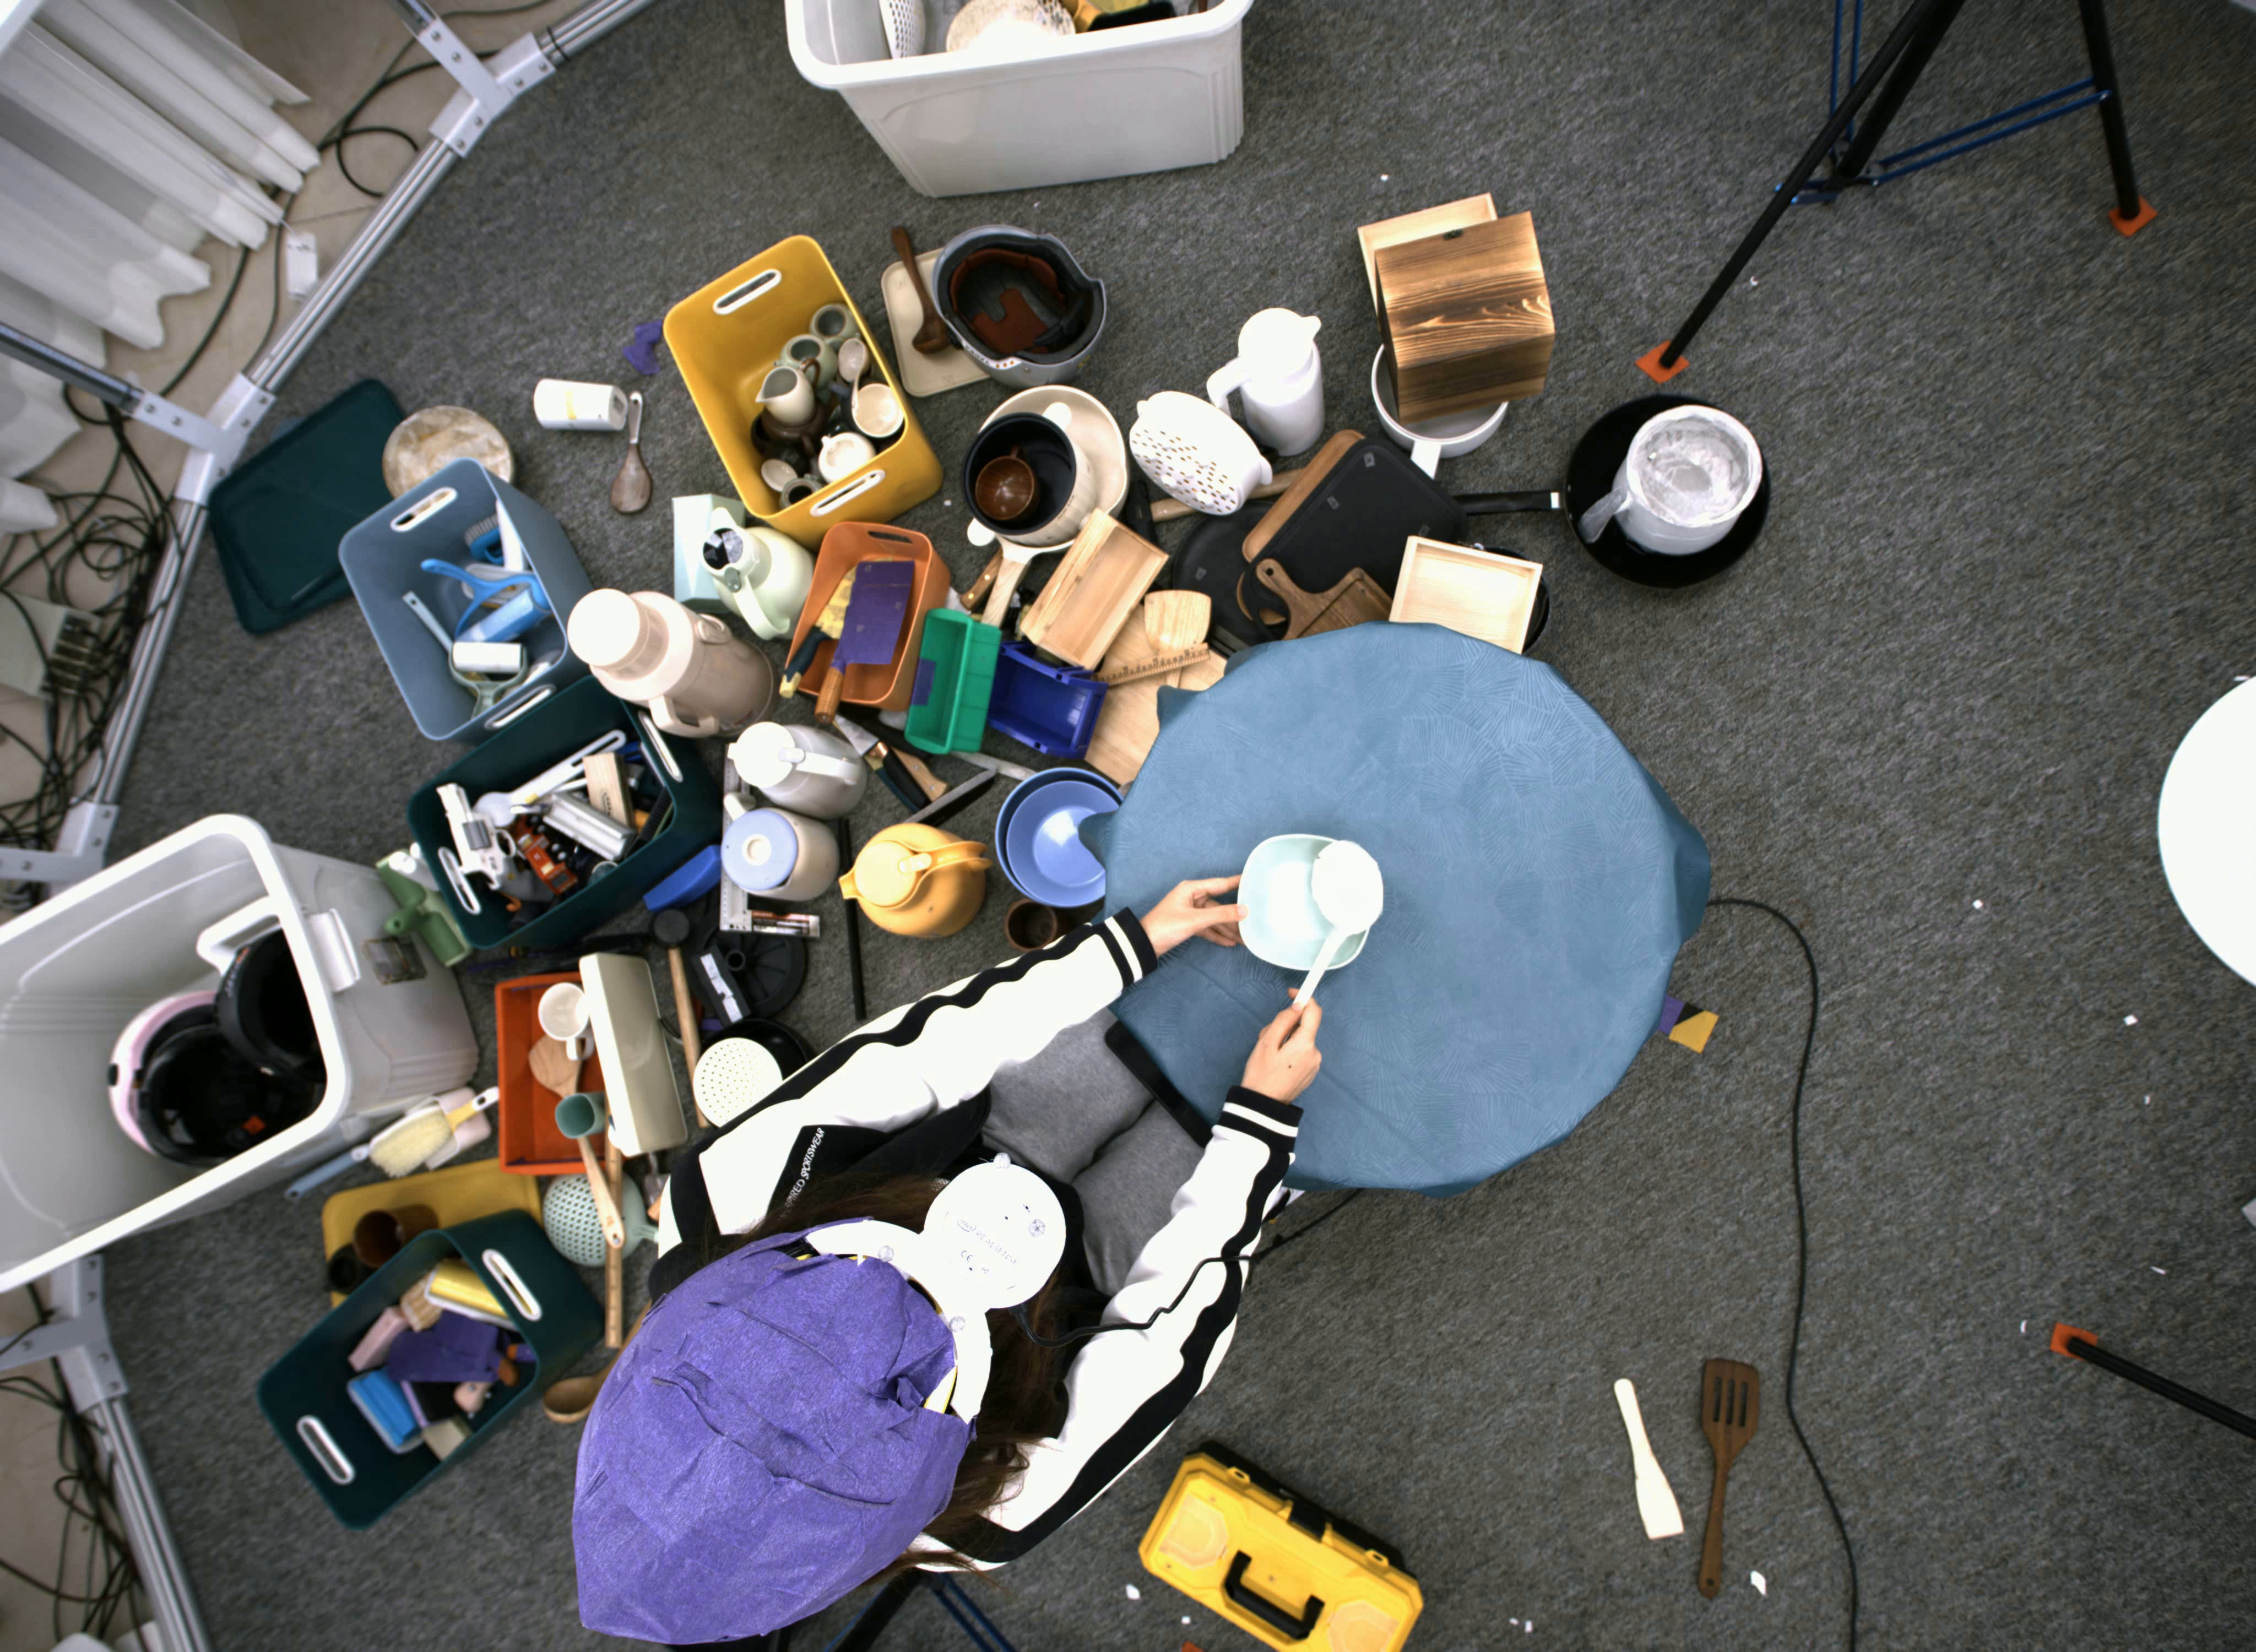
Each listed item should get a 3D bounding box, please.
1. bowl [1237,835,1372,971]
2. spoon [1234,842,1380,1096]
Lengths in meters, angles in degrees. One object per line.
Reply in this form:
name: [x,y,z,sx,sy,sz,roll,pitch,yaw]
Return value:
bowl: [0.186,0.079,1.445,0.152,0.058,0.151,0,91,11]
spoon: [0.166,0.144,1.400,0.100,0.060,0.278,35,93,49]
